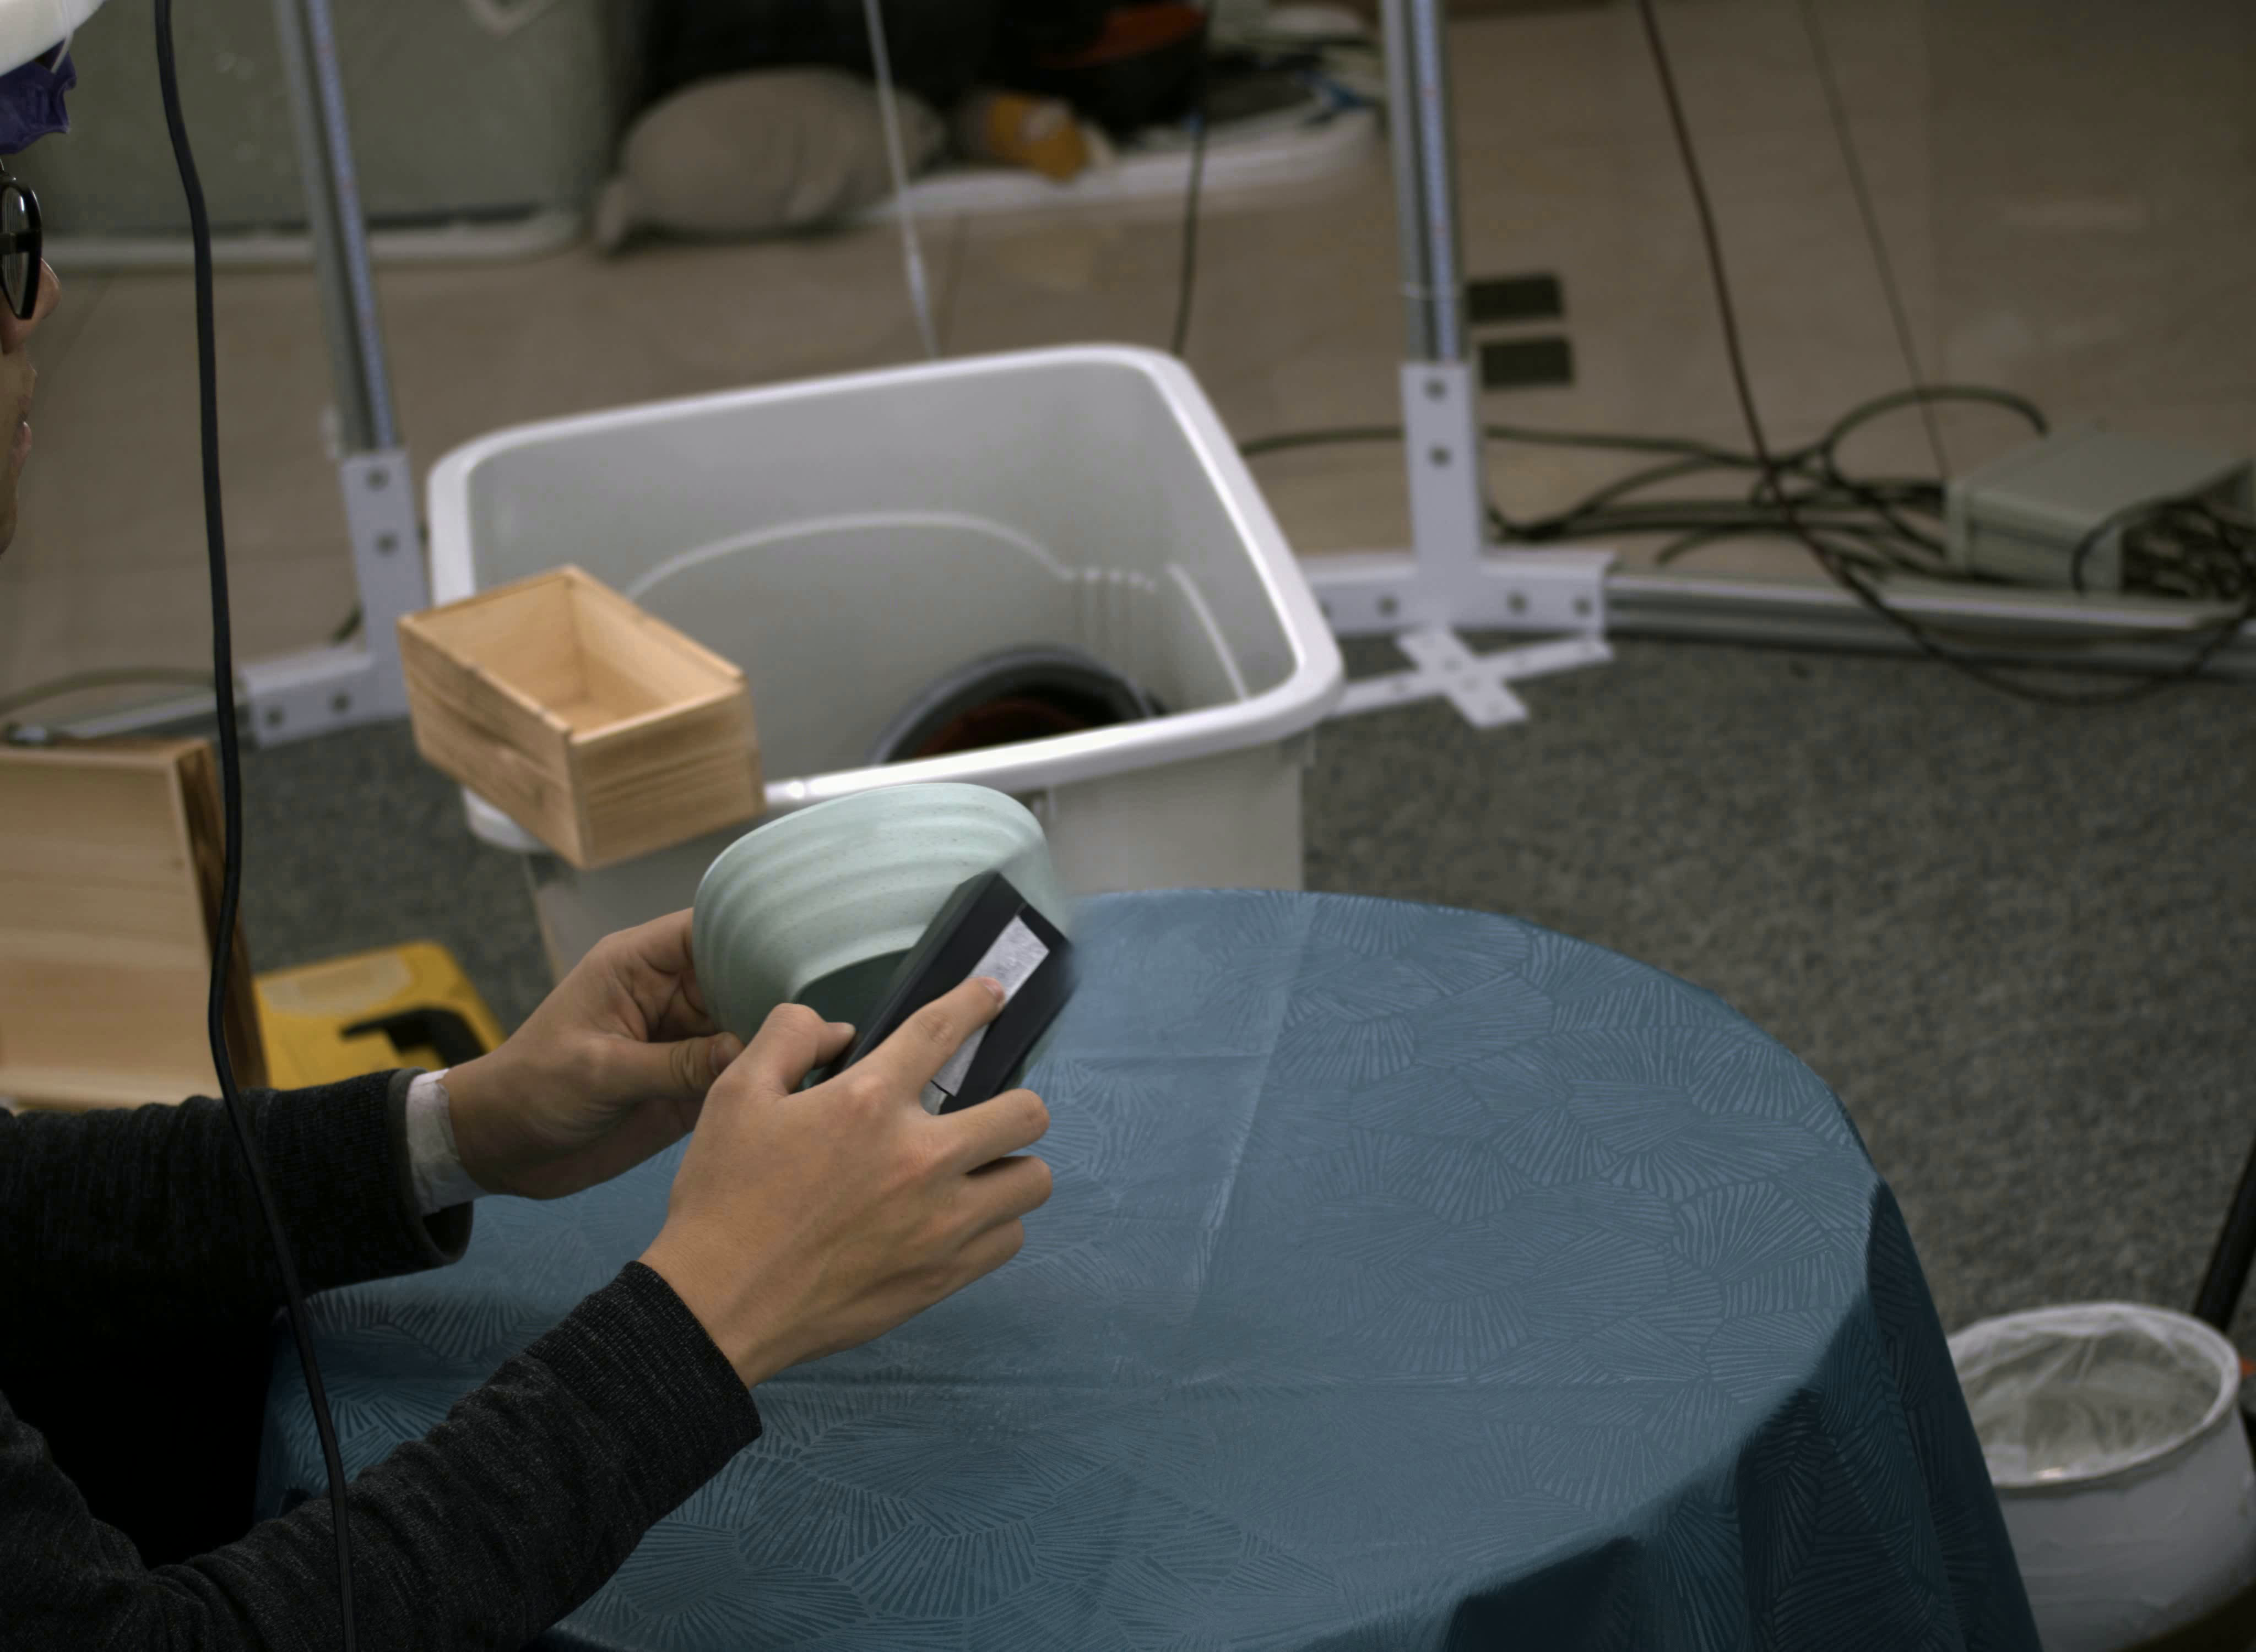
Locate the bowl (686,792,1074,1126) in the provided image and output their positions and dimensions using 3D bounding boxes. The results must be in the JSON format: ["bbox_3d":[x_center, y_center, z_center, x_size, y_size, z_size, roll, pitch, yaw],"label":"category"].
[{"bbox_3d":[-0.085,0.060,2.019,0.151,0.154,0.057,-8,41,-4],"label":"bowl"}]

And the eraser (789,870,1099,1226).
[{"bbox_3d":[-0.063,0.075,1.941,0.124,0.054,0.031,-55,10,-33],"label":"eraser"}]
